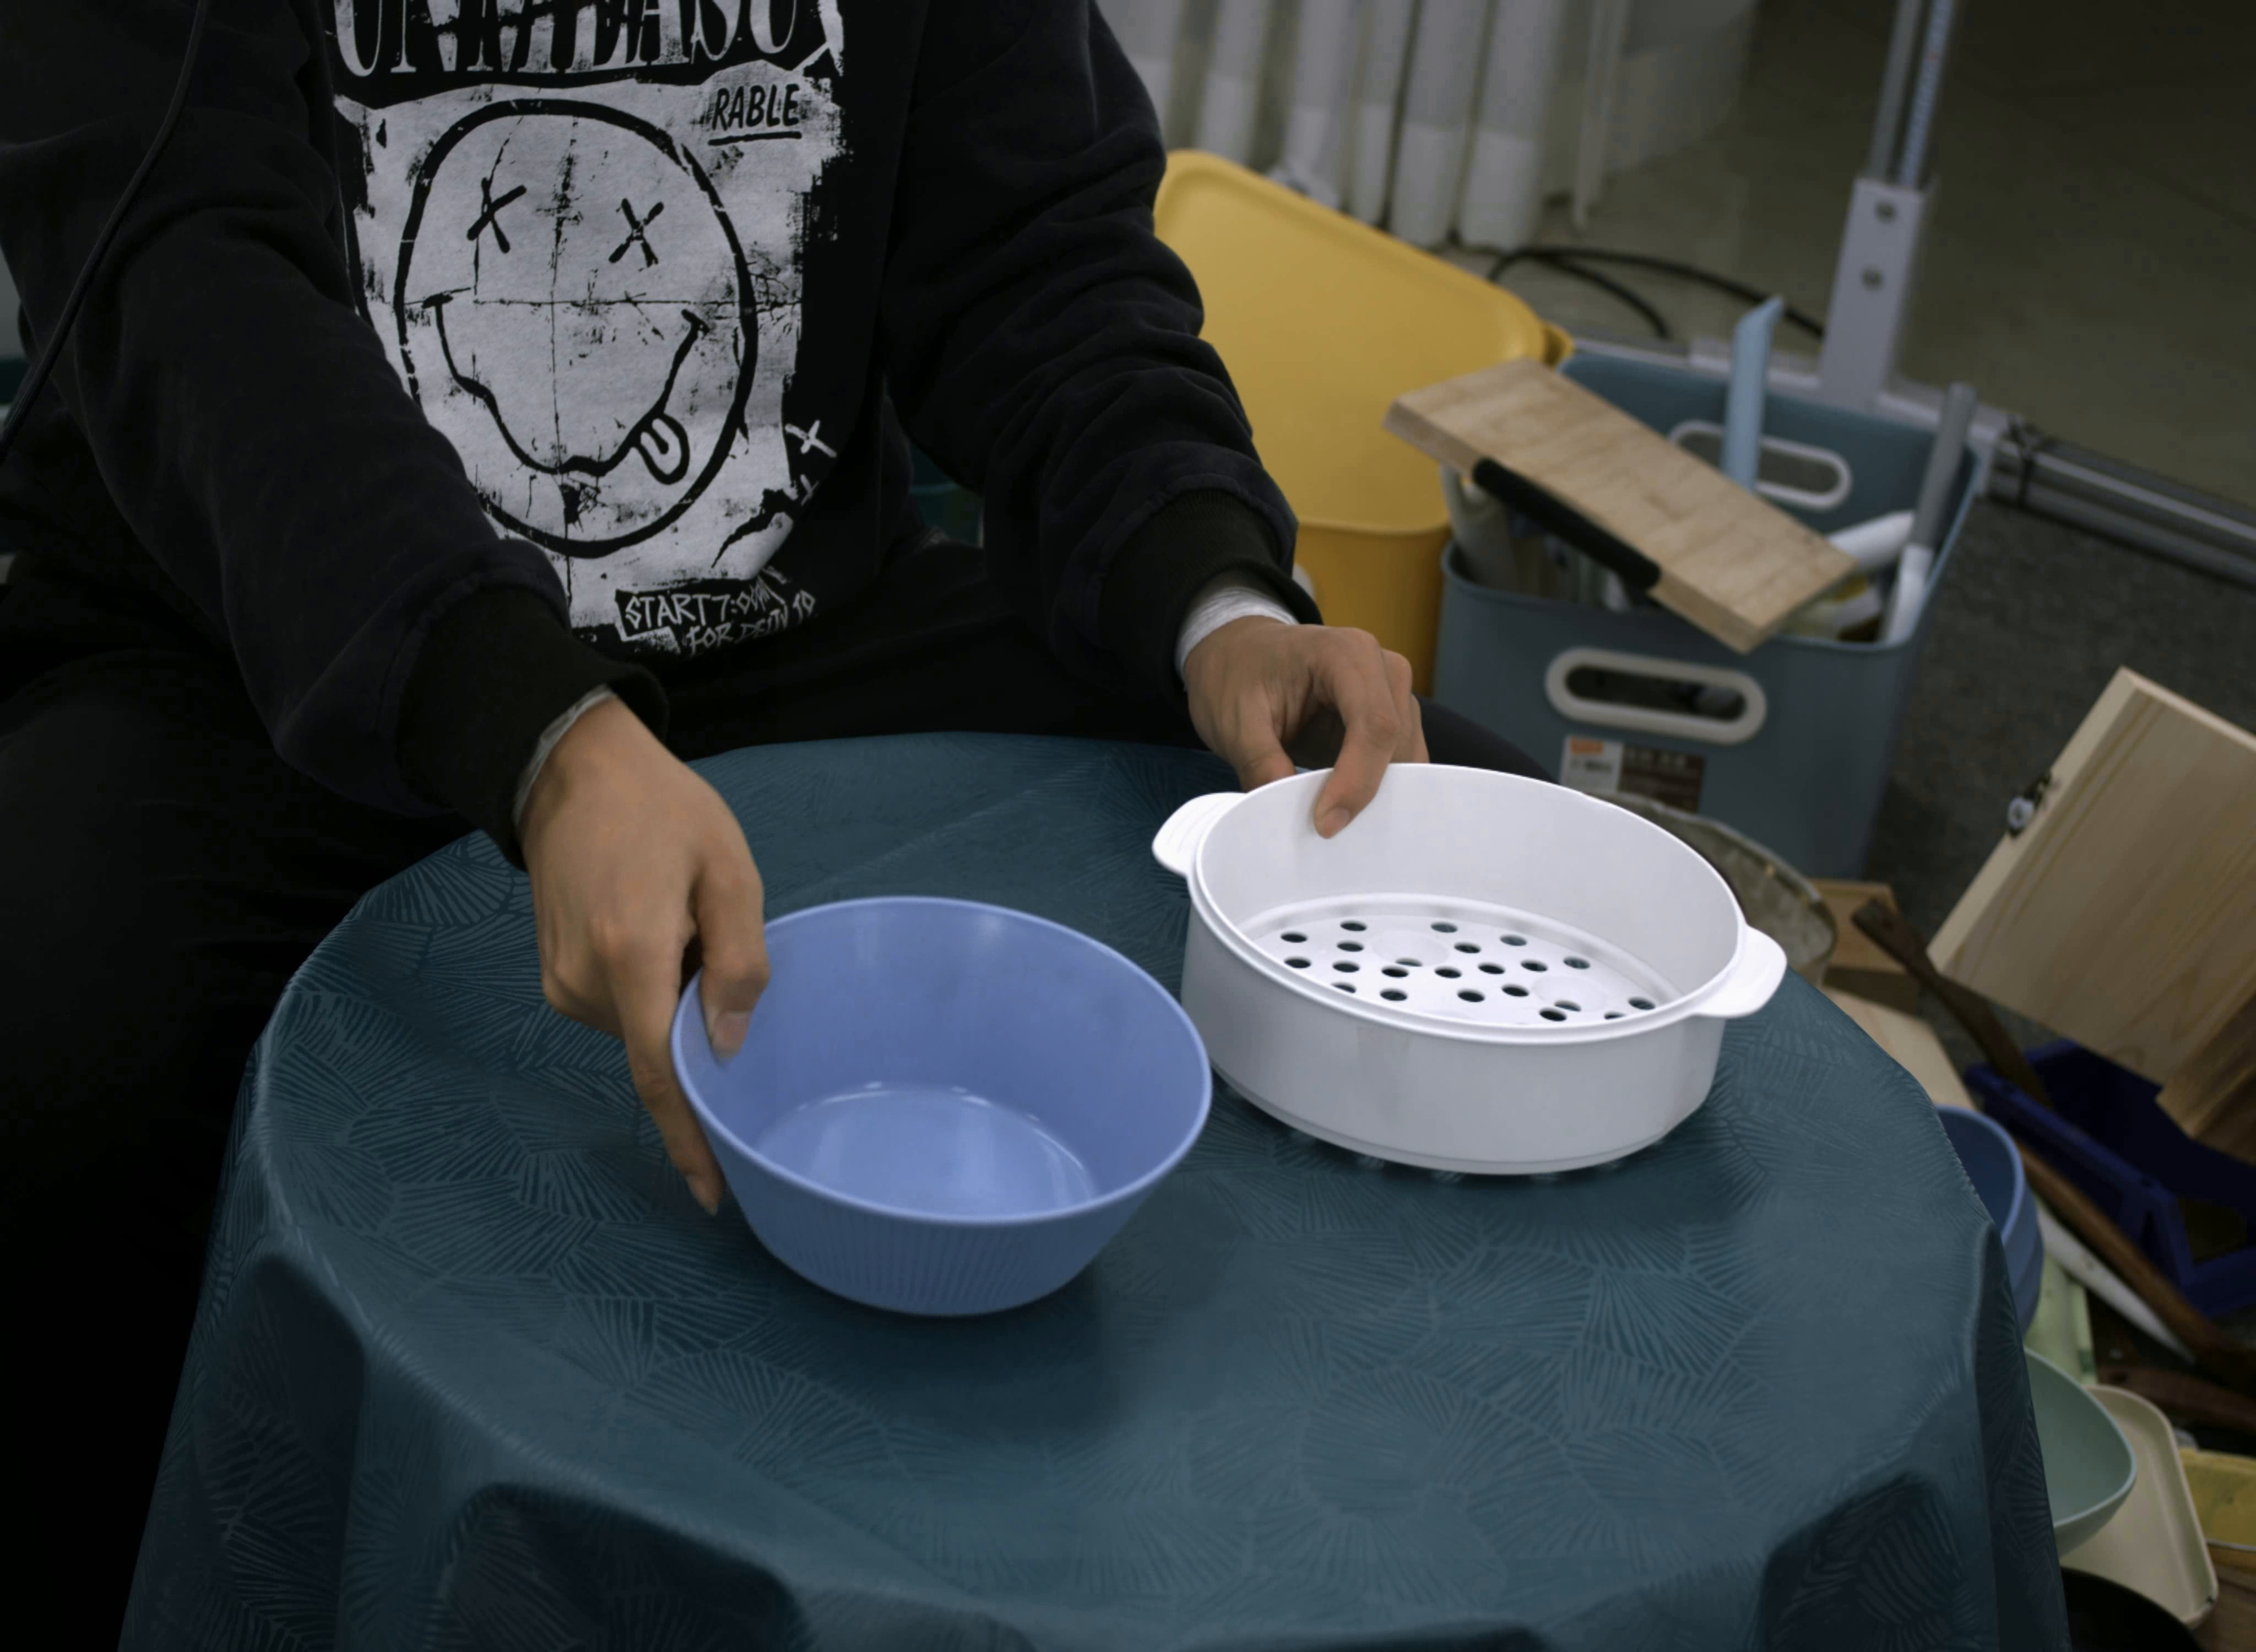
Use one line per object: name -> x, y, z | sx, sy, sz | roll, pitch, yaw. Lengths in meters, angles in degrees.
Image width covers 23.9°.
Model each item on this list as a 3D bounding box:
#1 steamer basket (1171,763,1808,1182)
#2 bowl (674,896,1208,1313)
steamer basket -> 0.123, 0.052, 1.893 | 0.231, 0.069, 0.202 | 17, 28, 15
bowl -> -0.065, 0.099, 1.739 | 0.175, 0.070, 0.177 | 7, 33, -5
